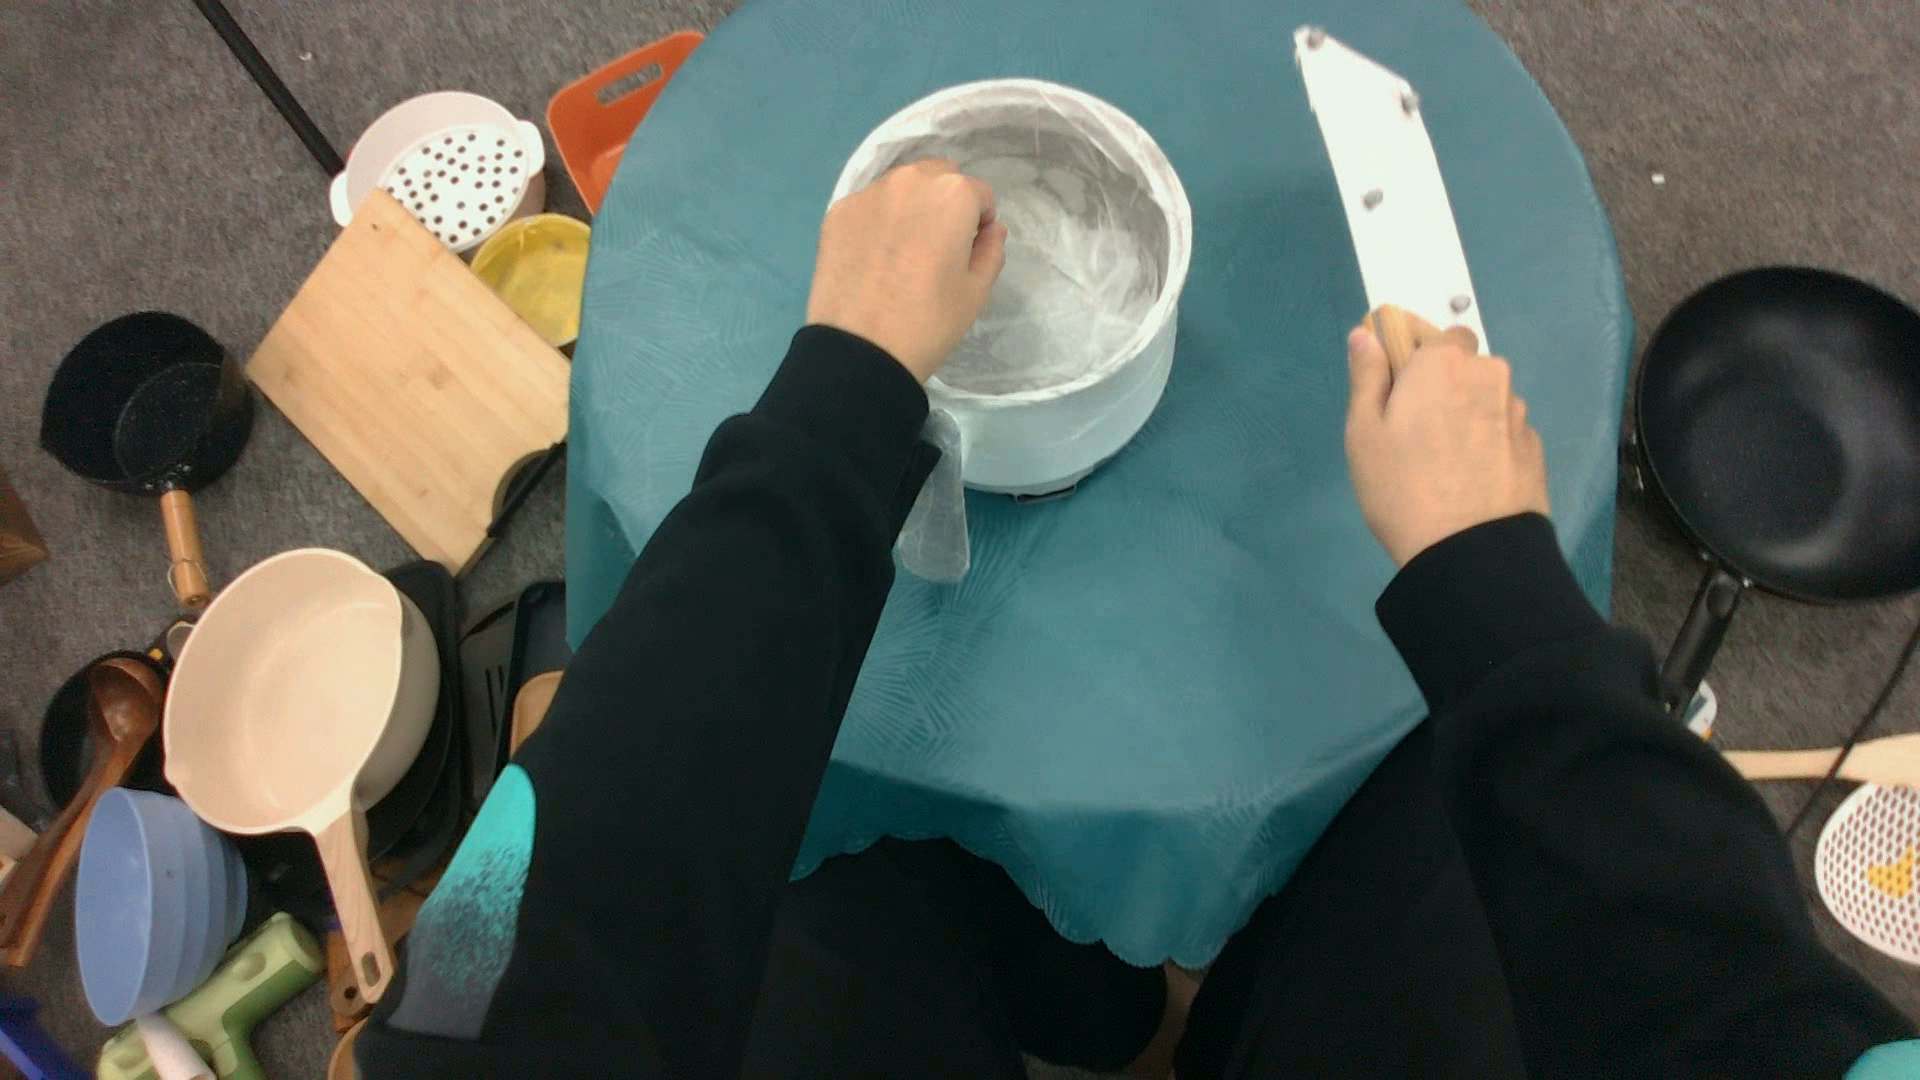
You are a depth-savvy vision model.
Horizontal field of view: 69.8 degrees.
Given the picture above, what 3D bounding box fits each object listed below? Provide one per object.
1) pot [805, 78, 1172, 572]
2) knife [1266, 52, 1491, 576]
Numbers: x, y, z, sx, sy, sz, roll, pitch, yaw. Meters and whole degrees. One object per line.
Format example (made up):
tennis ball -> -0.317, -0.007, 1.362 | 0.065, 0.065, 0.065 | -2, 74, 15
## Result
pot -> 0.009, -0.103, 0.713 | 0.178, 0.136, 0.234 | 15, 71, 9
knife -> 0.209, -0.124, 0.679 | 0.114, 0.021, 0.316 | 17, 56, -28
